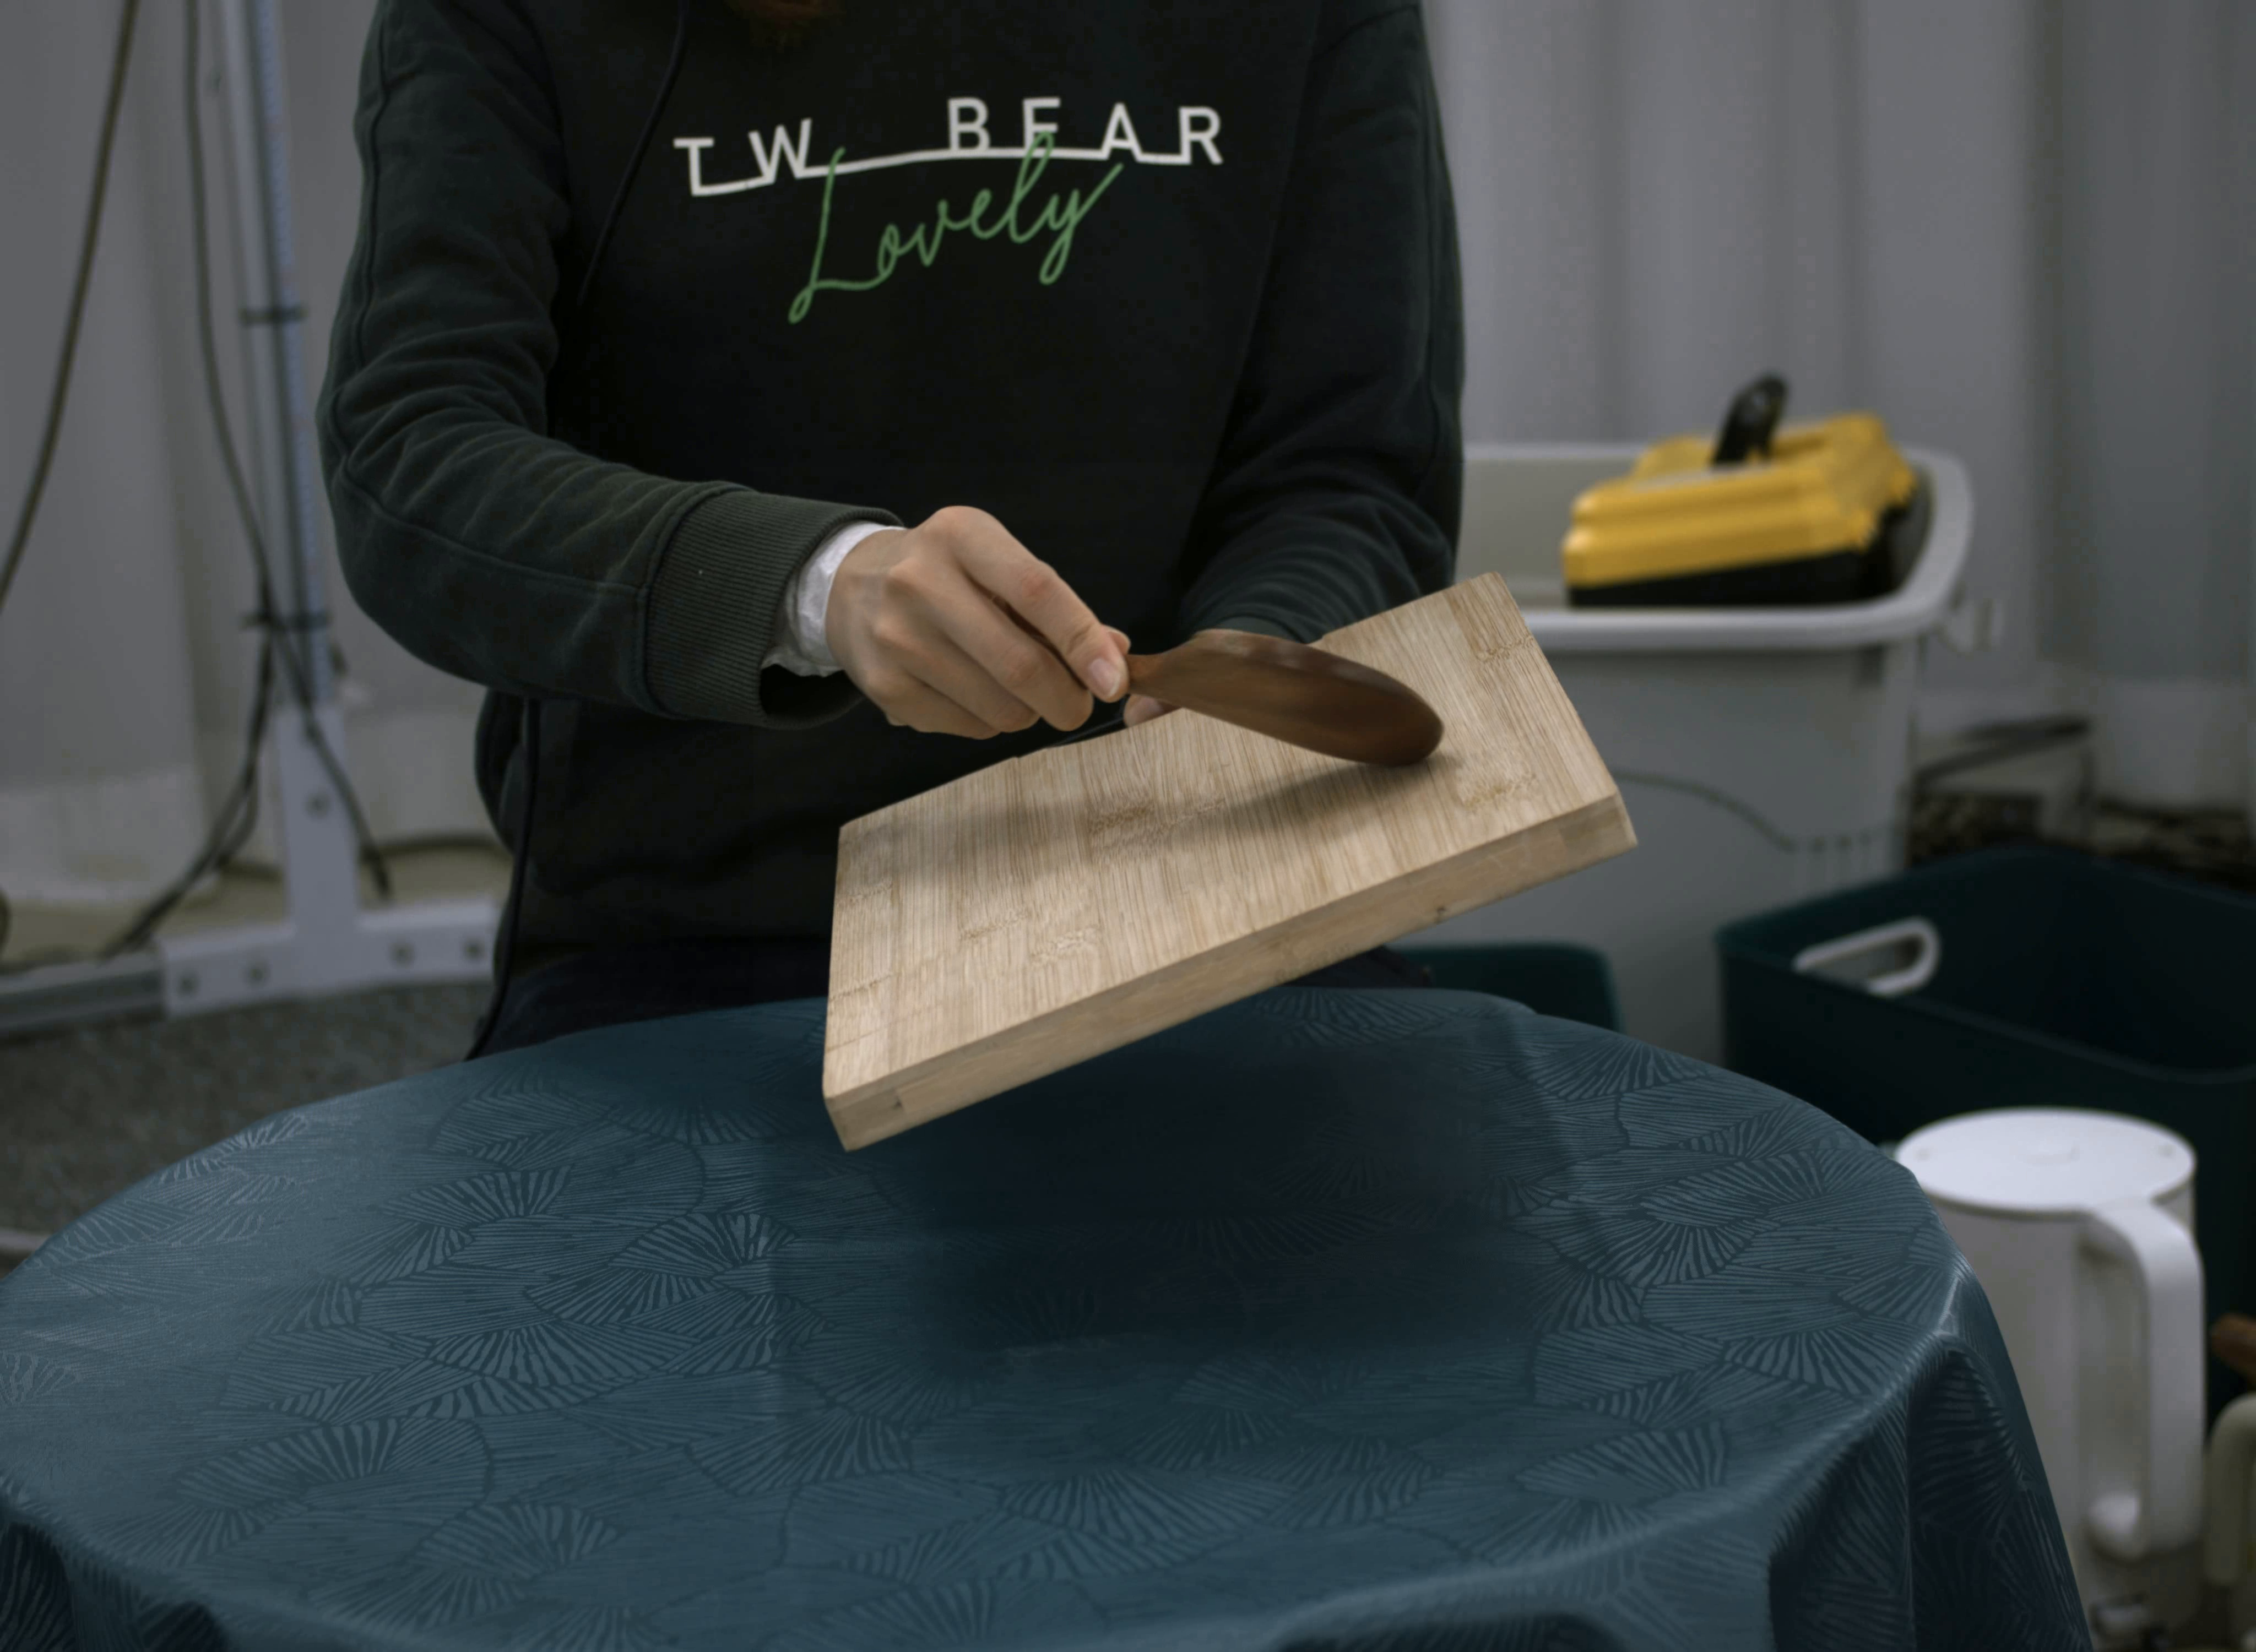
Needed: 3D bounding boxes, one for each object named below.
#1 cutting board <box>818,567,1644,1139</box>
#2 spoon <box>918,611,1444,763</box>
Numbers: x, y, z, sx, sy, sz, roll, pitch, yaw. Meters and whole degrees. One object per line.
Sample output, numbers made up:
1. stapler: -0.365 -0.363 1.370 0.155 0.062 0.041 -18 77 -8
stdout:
1. cutting board: 0.023 0.002 1.697 0.250 0.023 0.351 -21 13 2
2. spoon: 0.010 -0.044 1.677 0.217 0.017 0.074 12 -14 47
